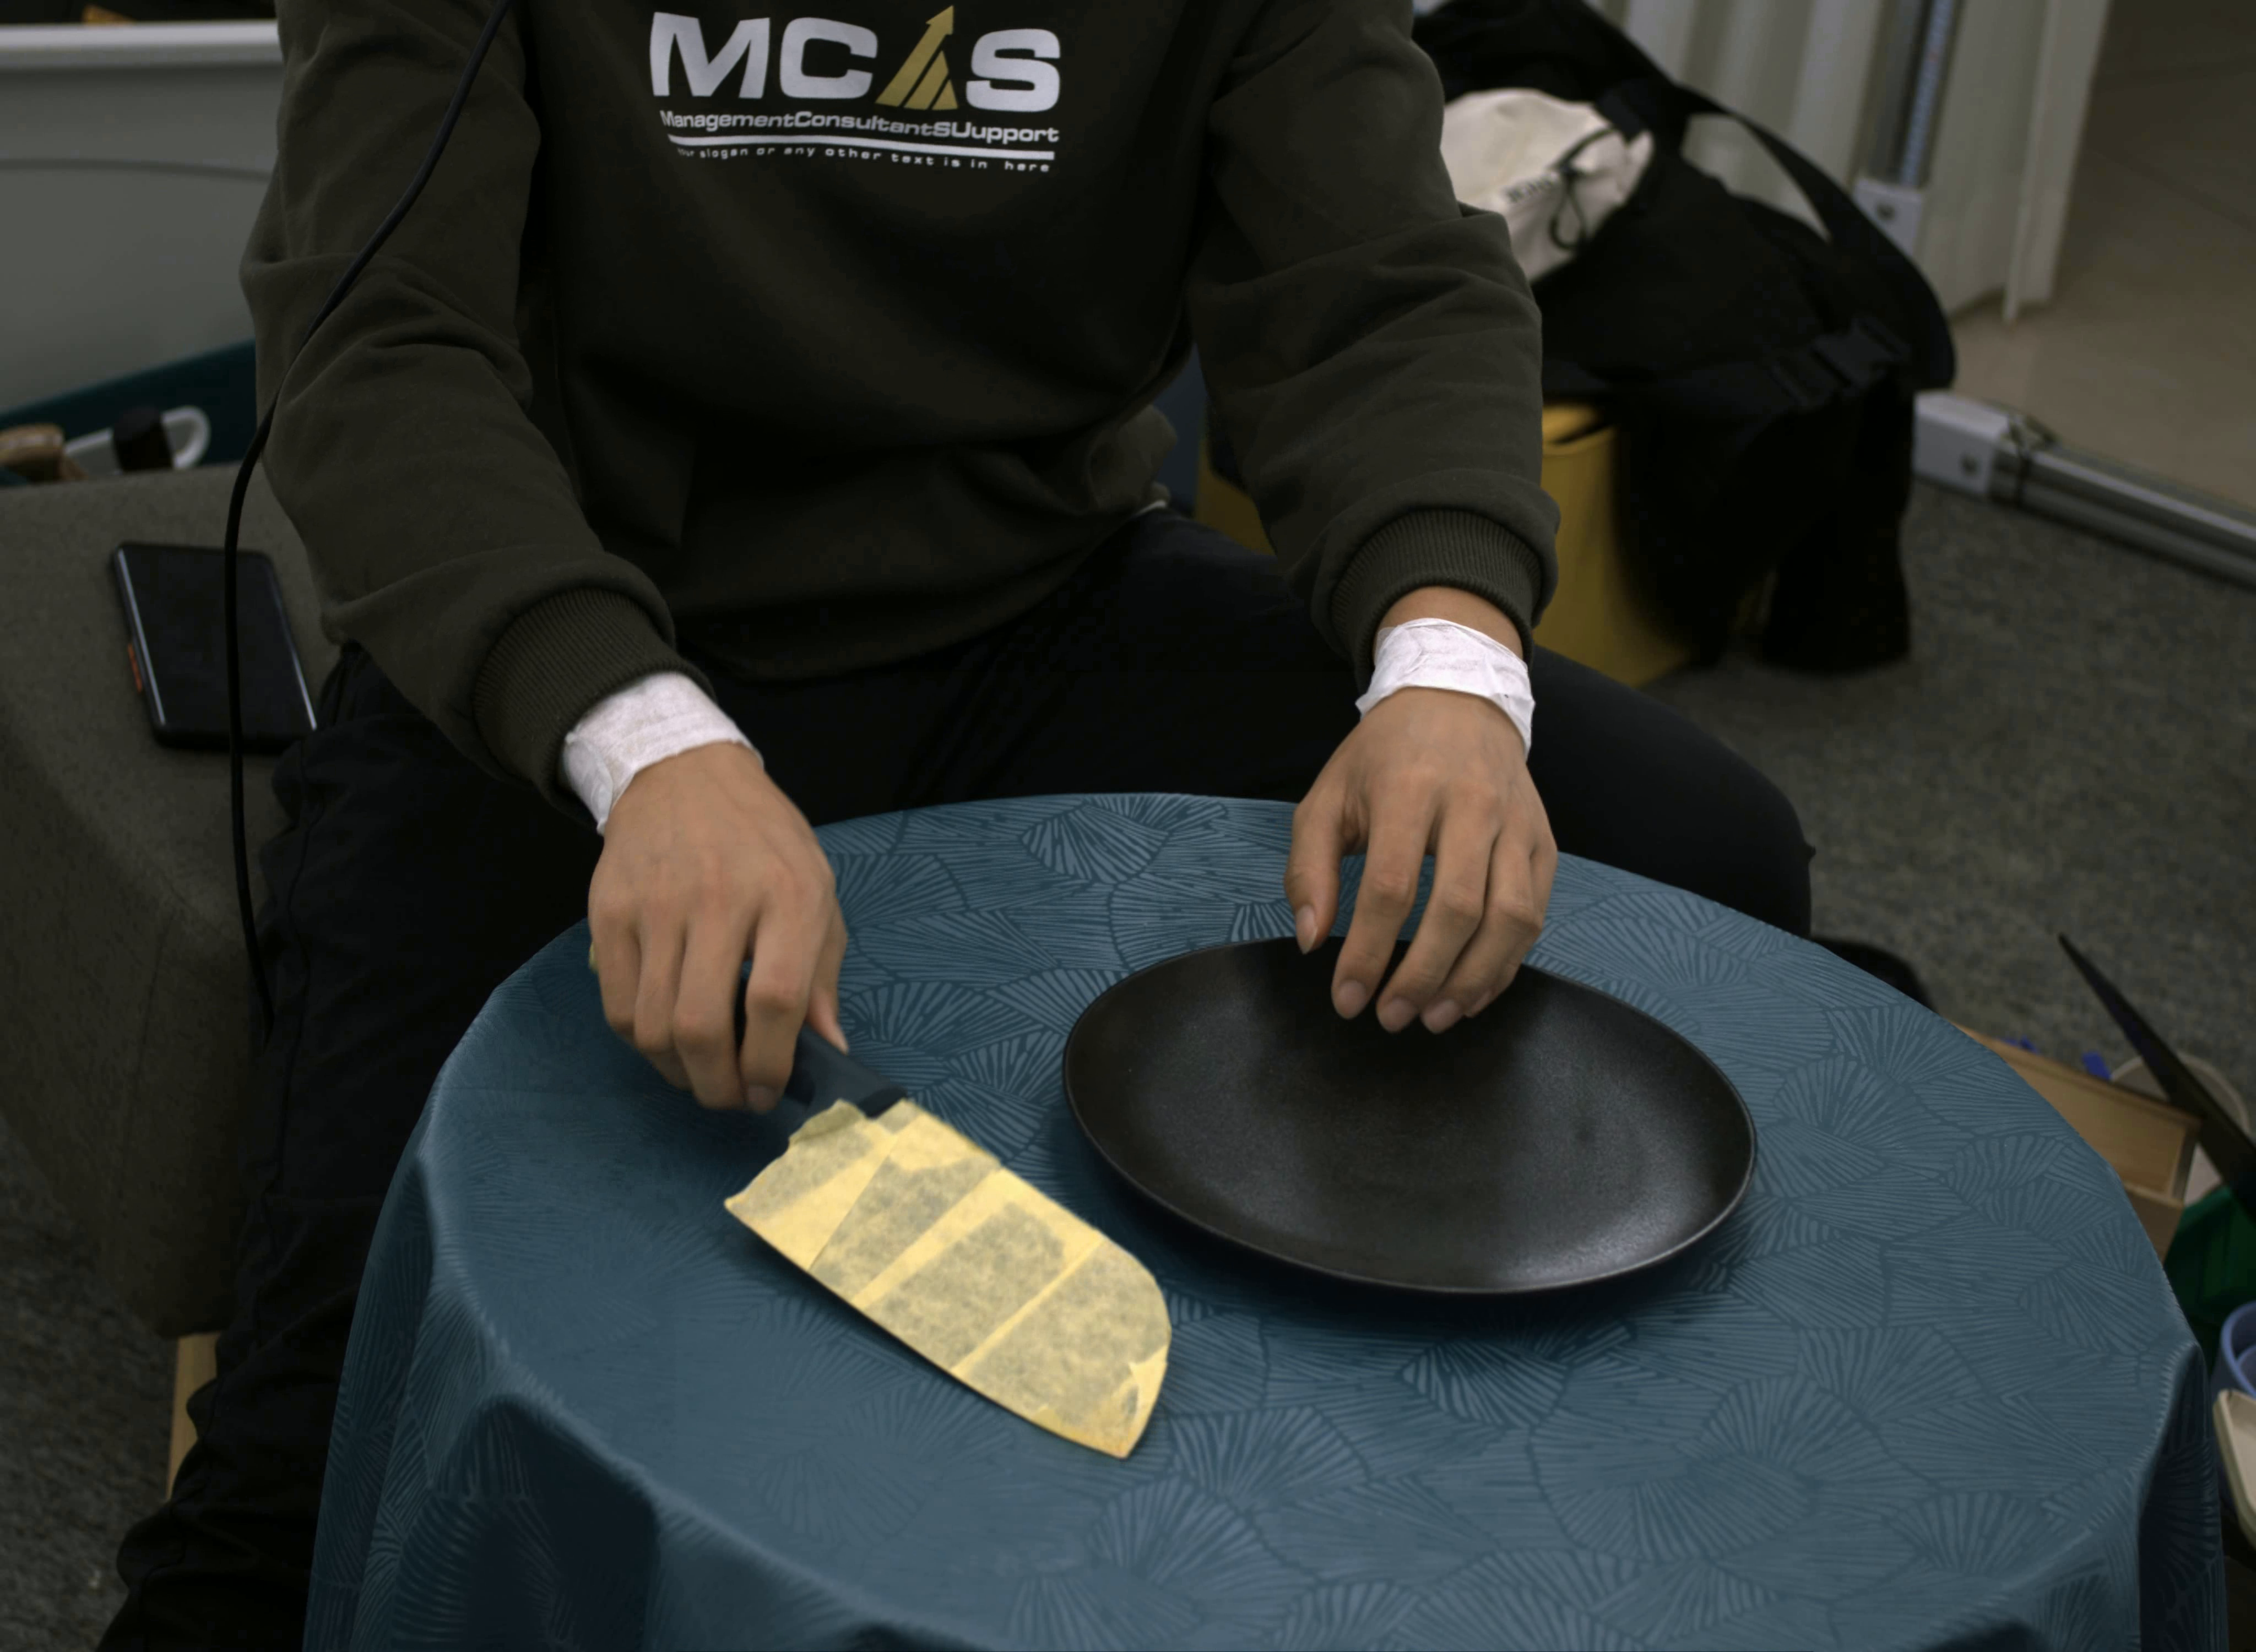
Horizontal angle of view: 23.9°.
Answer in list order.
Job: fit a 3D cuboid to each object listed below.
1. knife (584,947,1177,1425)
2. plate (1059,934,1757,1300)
[{"bbox_3d":[-0.091,0.118,1.749,0.081,0.027,0.292,-34,49,-29],"label":"knife"},{"bbox_3d":[0.095,0.104,1.840,0.243,0.023,0.246,5,27,-3],"label":"plate"}]
